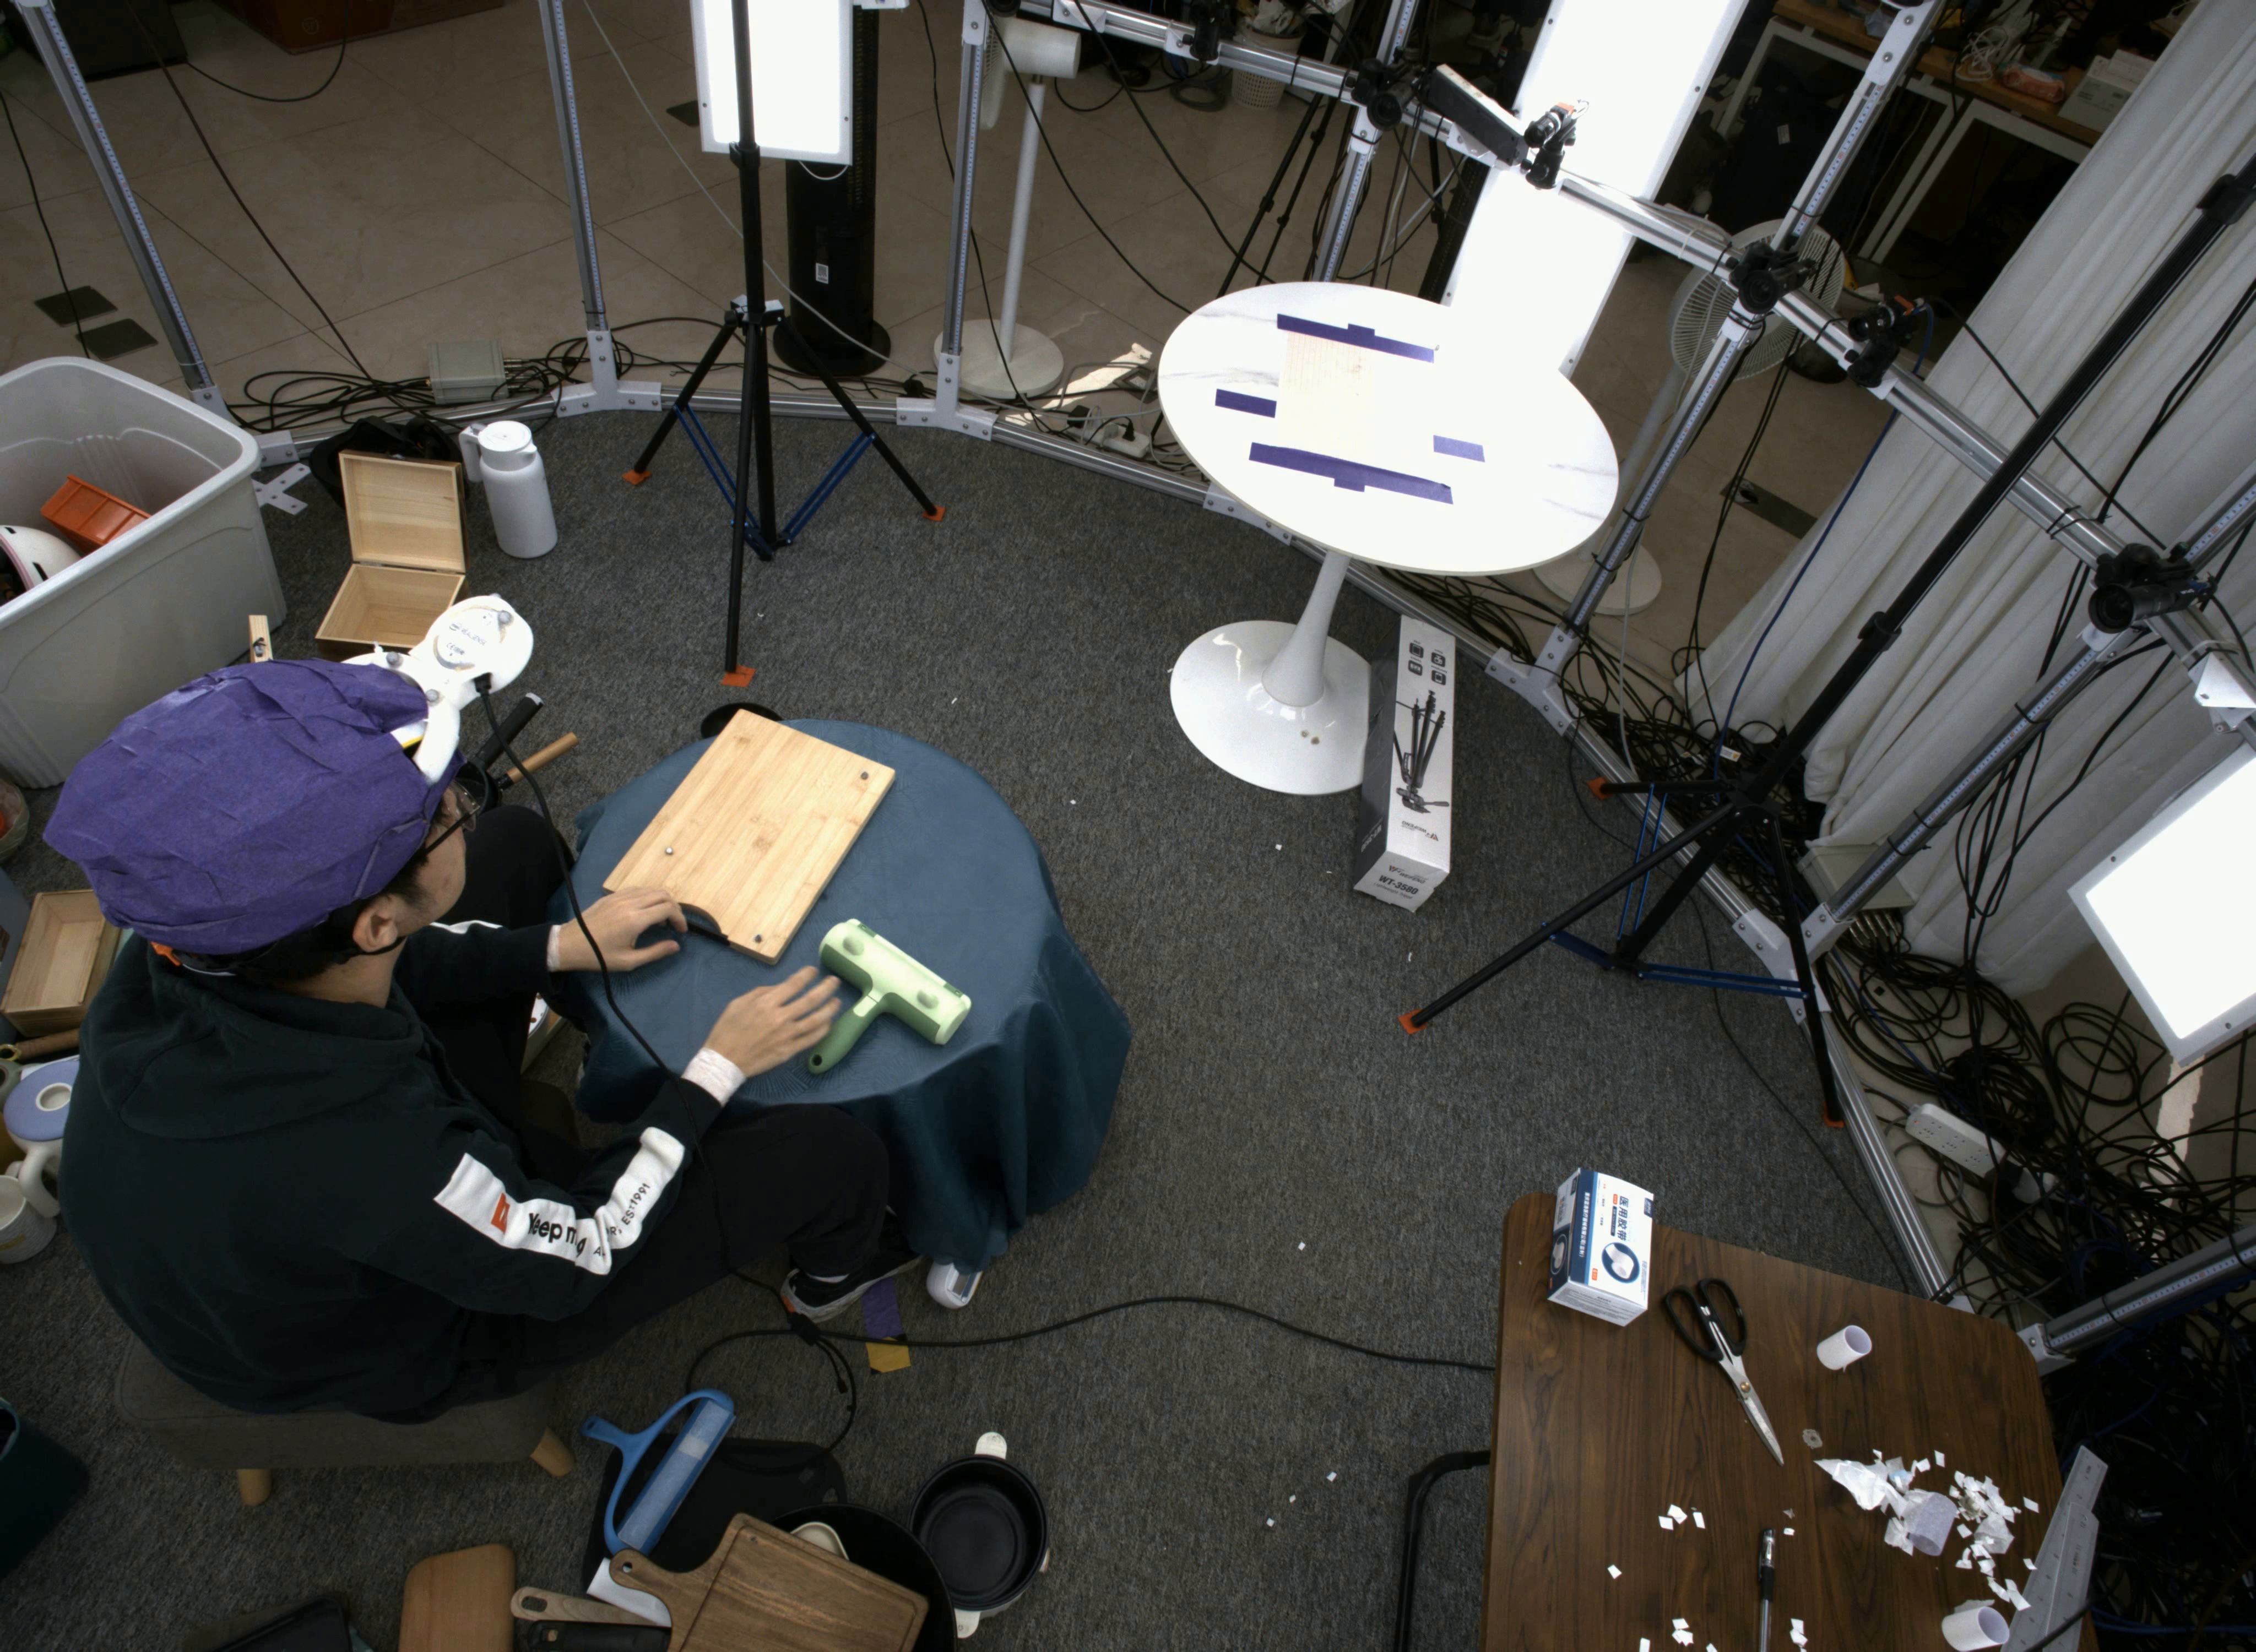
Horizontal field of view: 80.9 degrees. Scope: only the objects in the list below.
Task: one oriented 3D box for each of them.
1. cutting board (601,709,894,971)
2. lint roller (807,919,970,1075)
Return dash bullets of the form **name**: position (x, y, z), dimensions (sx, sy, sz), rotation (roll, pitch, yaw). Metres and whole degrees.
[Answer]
- **cutting board**: position (-0.491, 0.007, 1.696), dimensions (0.248, 0.024, 0.345), rotation (22, 52, 2)
- **lint roller**: position (-0.317, 0.214, 1.551), dimensions (0.195, 0.084, 0.183), rotation (33, 49, 11)
